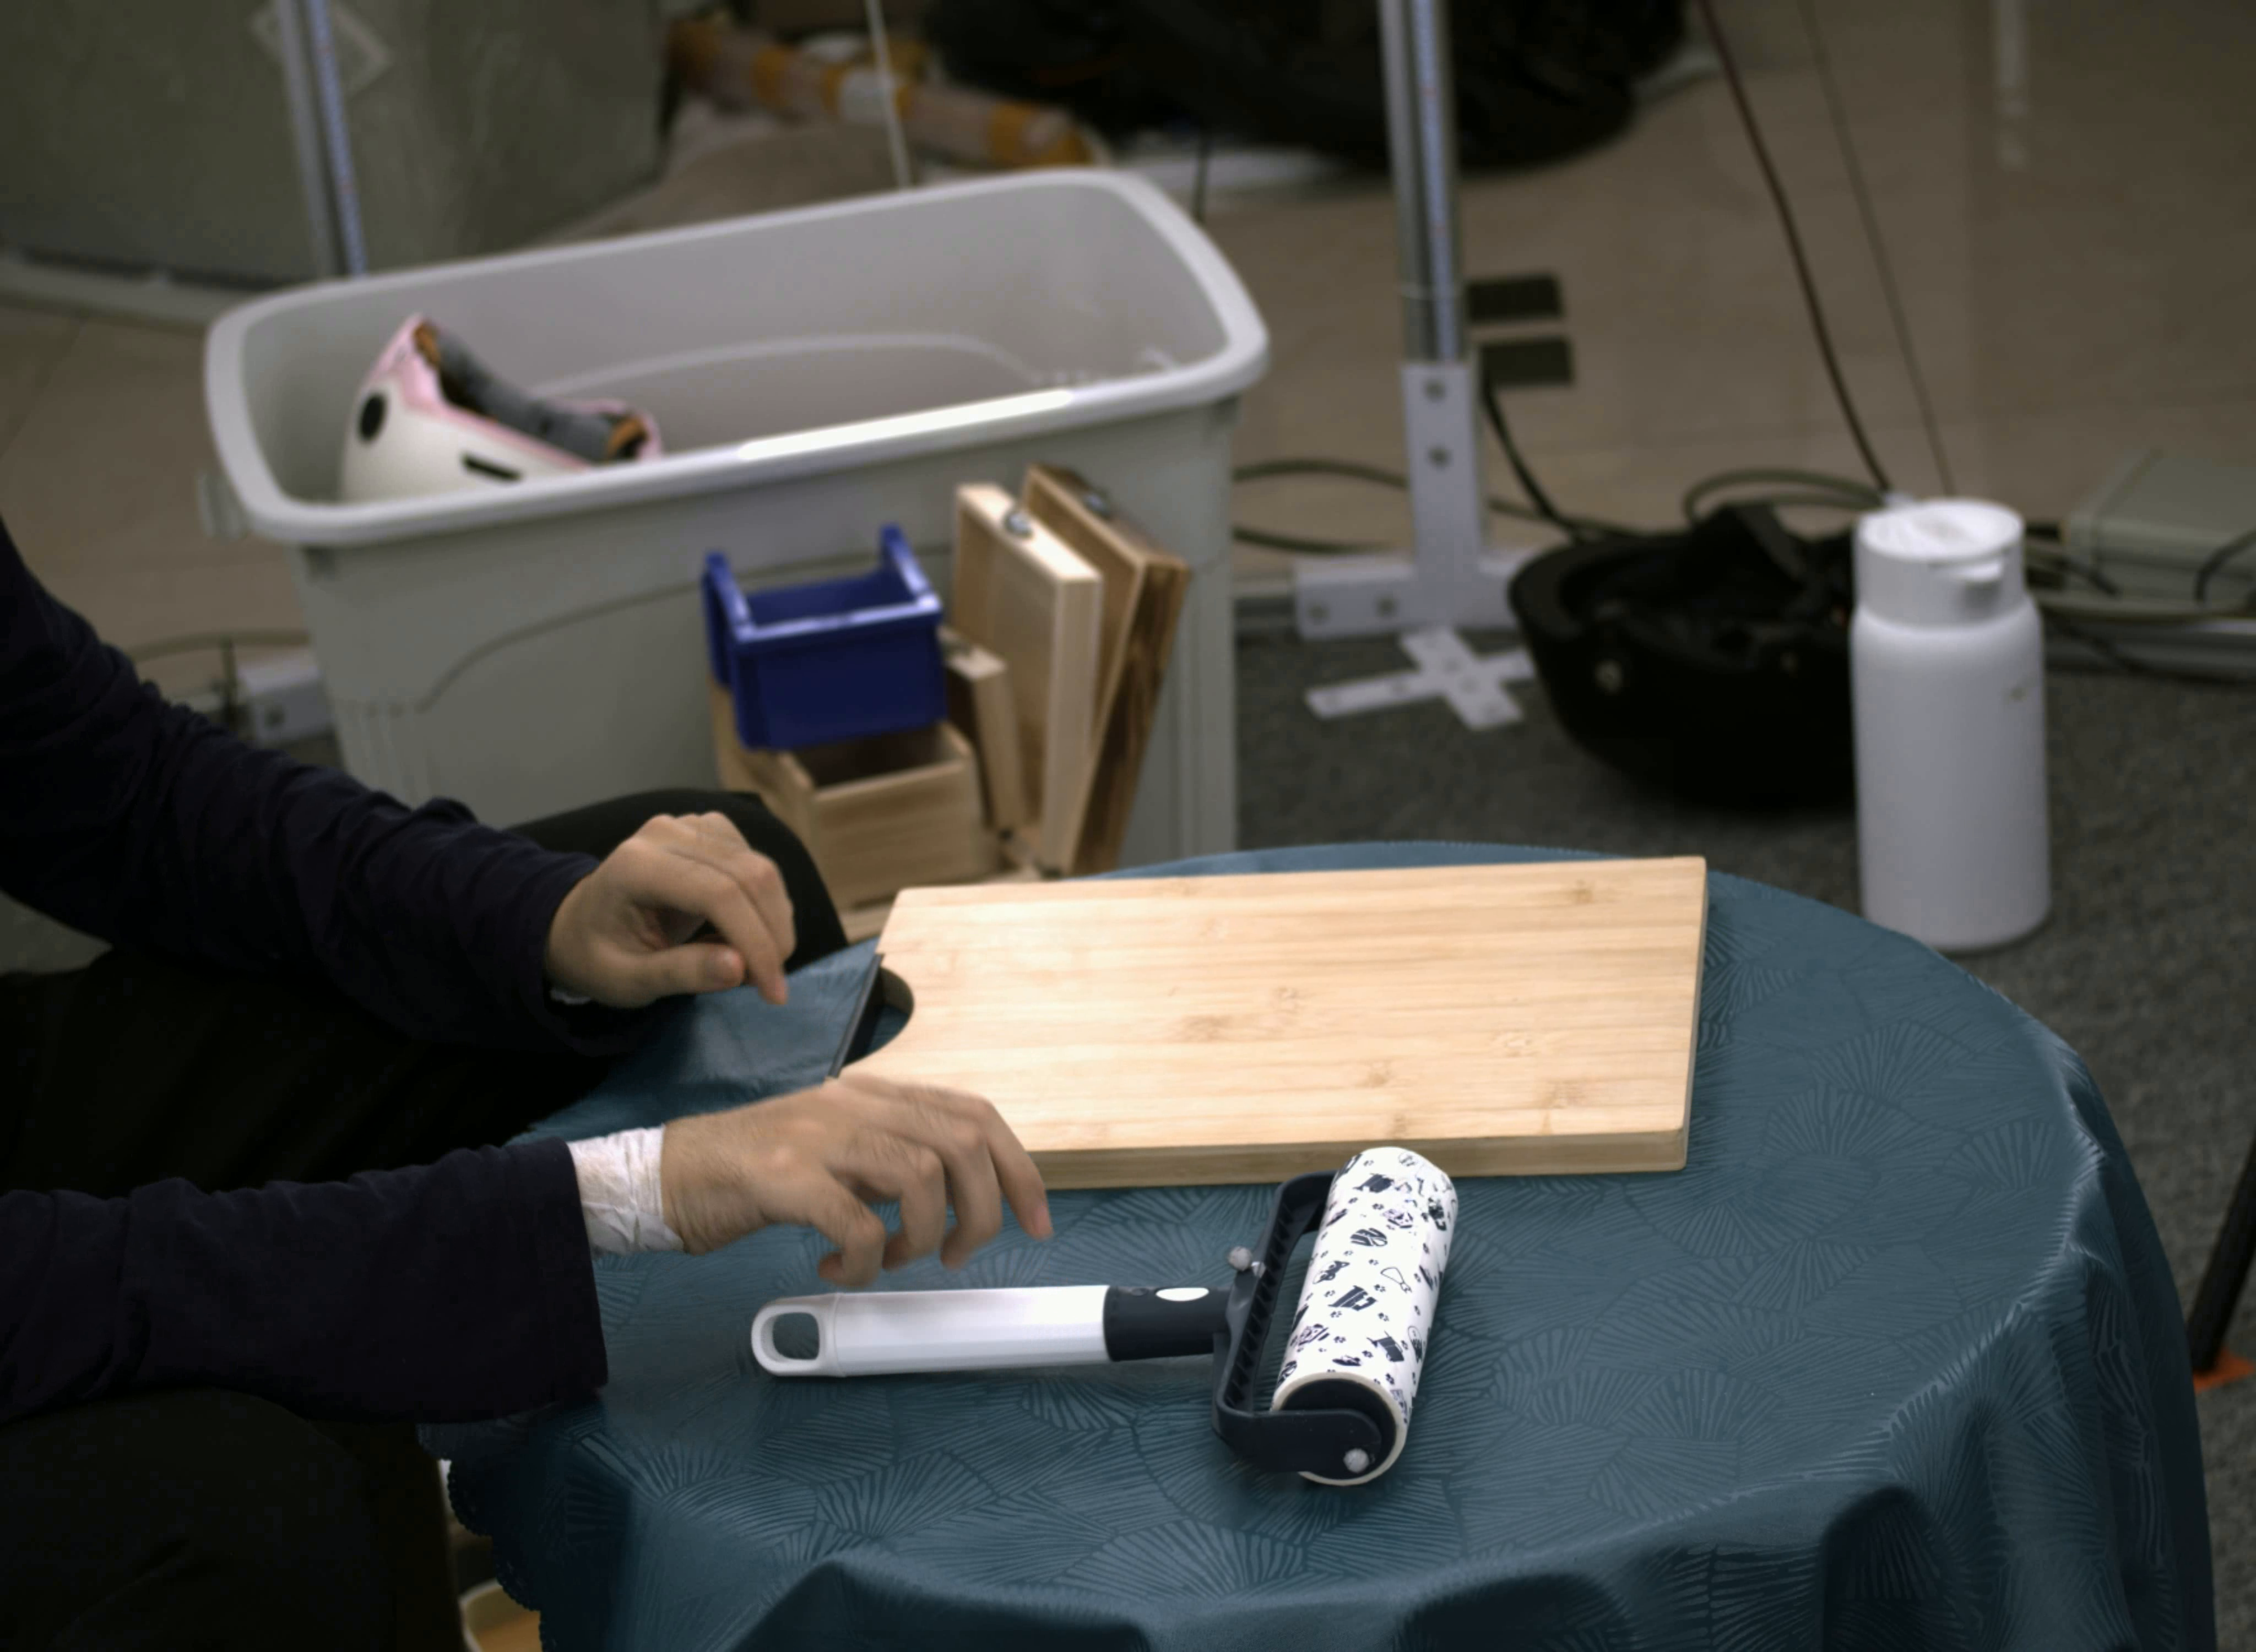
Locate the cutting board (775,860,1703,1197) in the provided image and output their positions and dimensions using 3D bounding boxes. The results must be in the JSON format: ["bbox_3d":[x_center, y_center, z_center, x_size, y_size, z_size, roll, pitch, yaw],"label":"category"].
[{"bbox_3d":[0.050,0.079,2.250,0.348,0.024,0.247,-3,24,9],"label":"cutting board"}]

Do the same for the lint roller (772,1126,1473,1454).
[{"bbox_3d":[-0.013,0.167,2.026,0.246,0.051,0.174,-2,23,17],"label":"lint roller"}]
